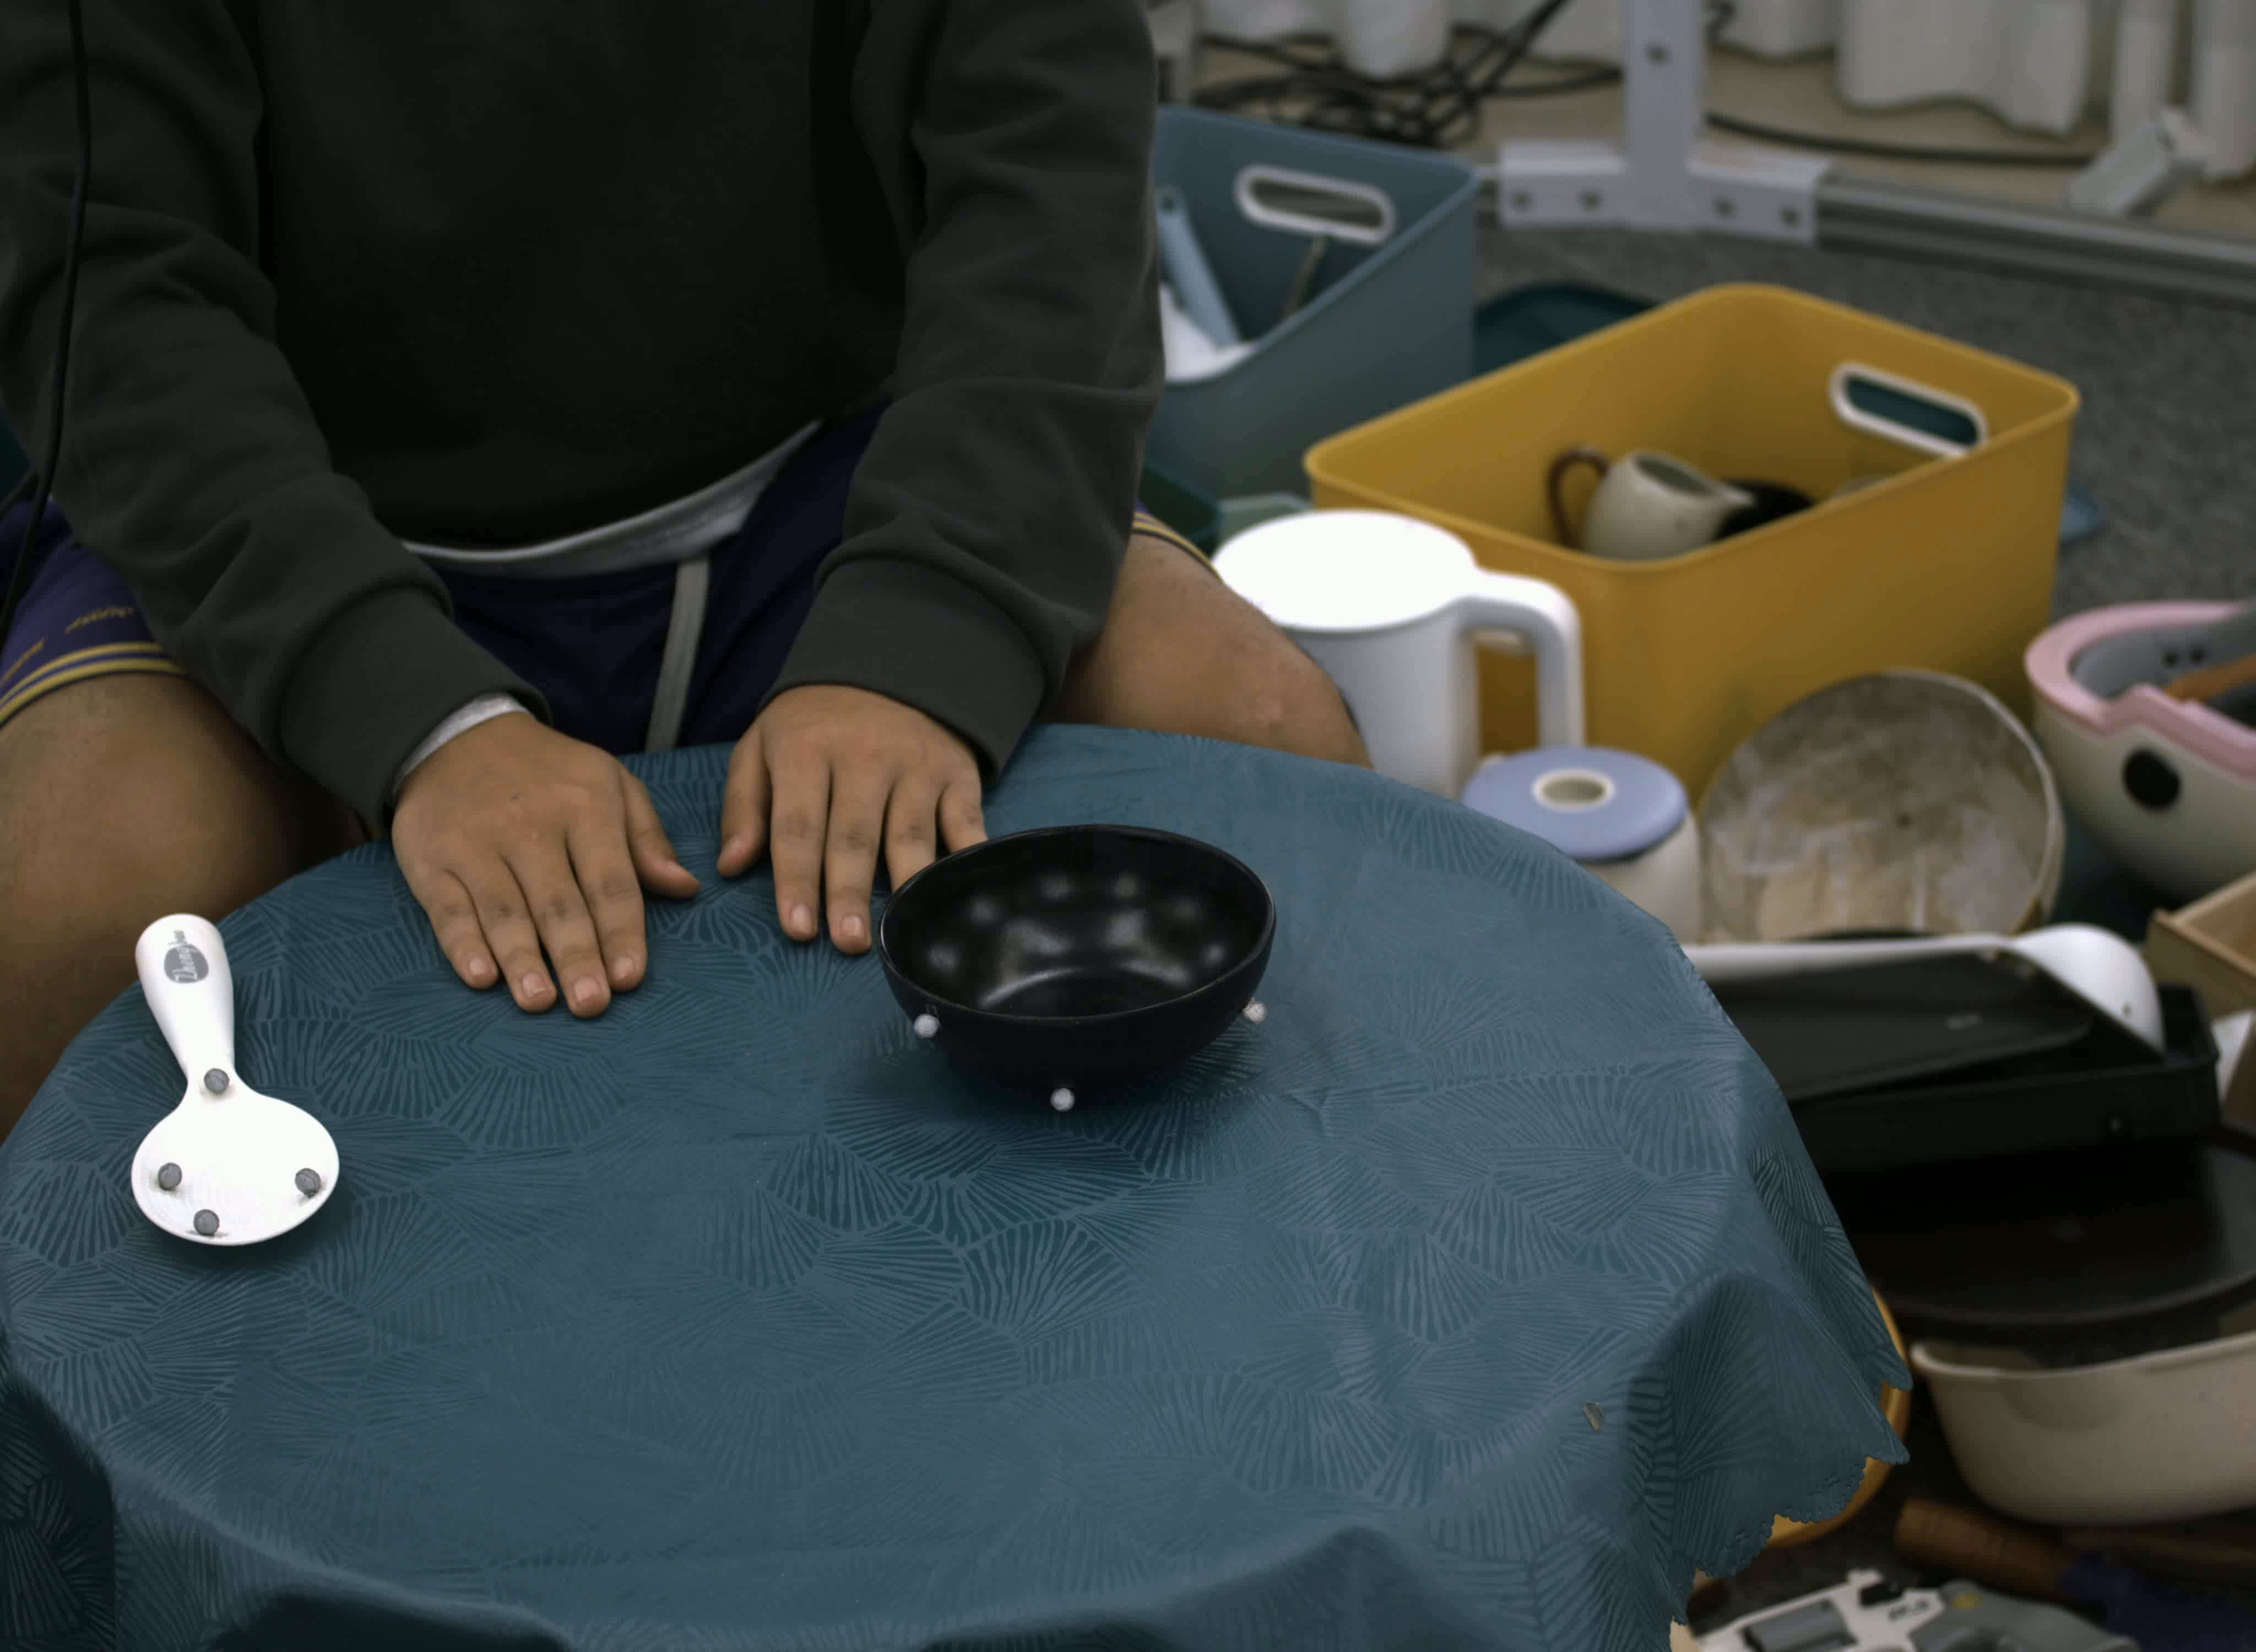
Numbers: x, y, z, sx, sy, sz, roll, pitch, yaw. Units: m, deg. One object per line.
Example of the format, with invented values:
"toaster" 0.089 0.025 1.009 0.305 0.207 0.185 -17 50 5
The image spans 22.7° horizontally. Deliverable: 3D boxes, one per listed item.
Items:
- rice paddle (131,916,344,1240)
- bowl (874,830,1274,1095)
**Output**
"rice paddle" -0.313 0.089 1.925 0.069 0.029 0.207 -11 28 -13
"bowl" -0.017 0.054 1.944 0.139 0.049 0.142 -3 26 2
